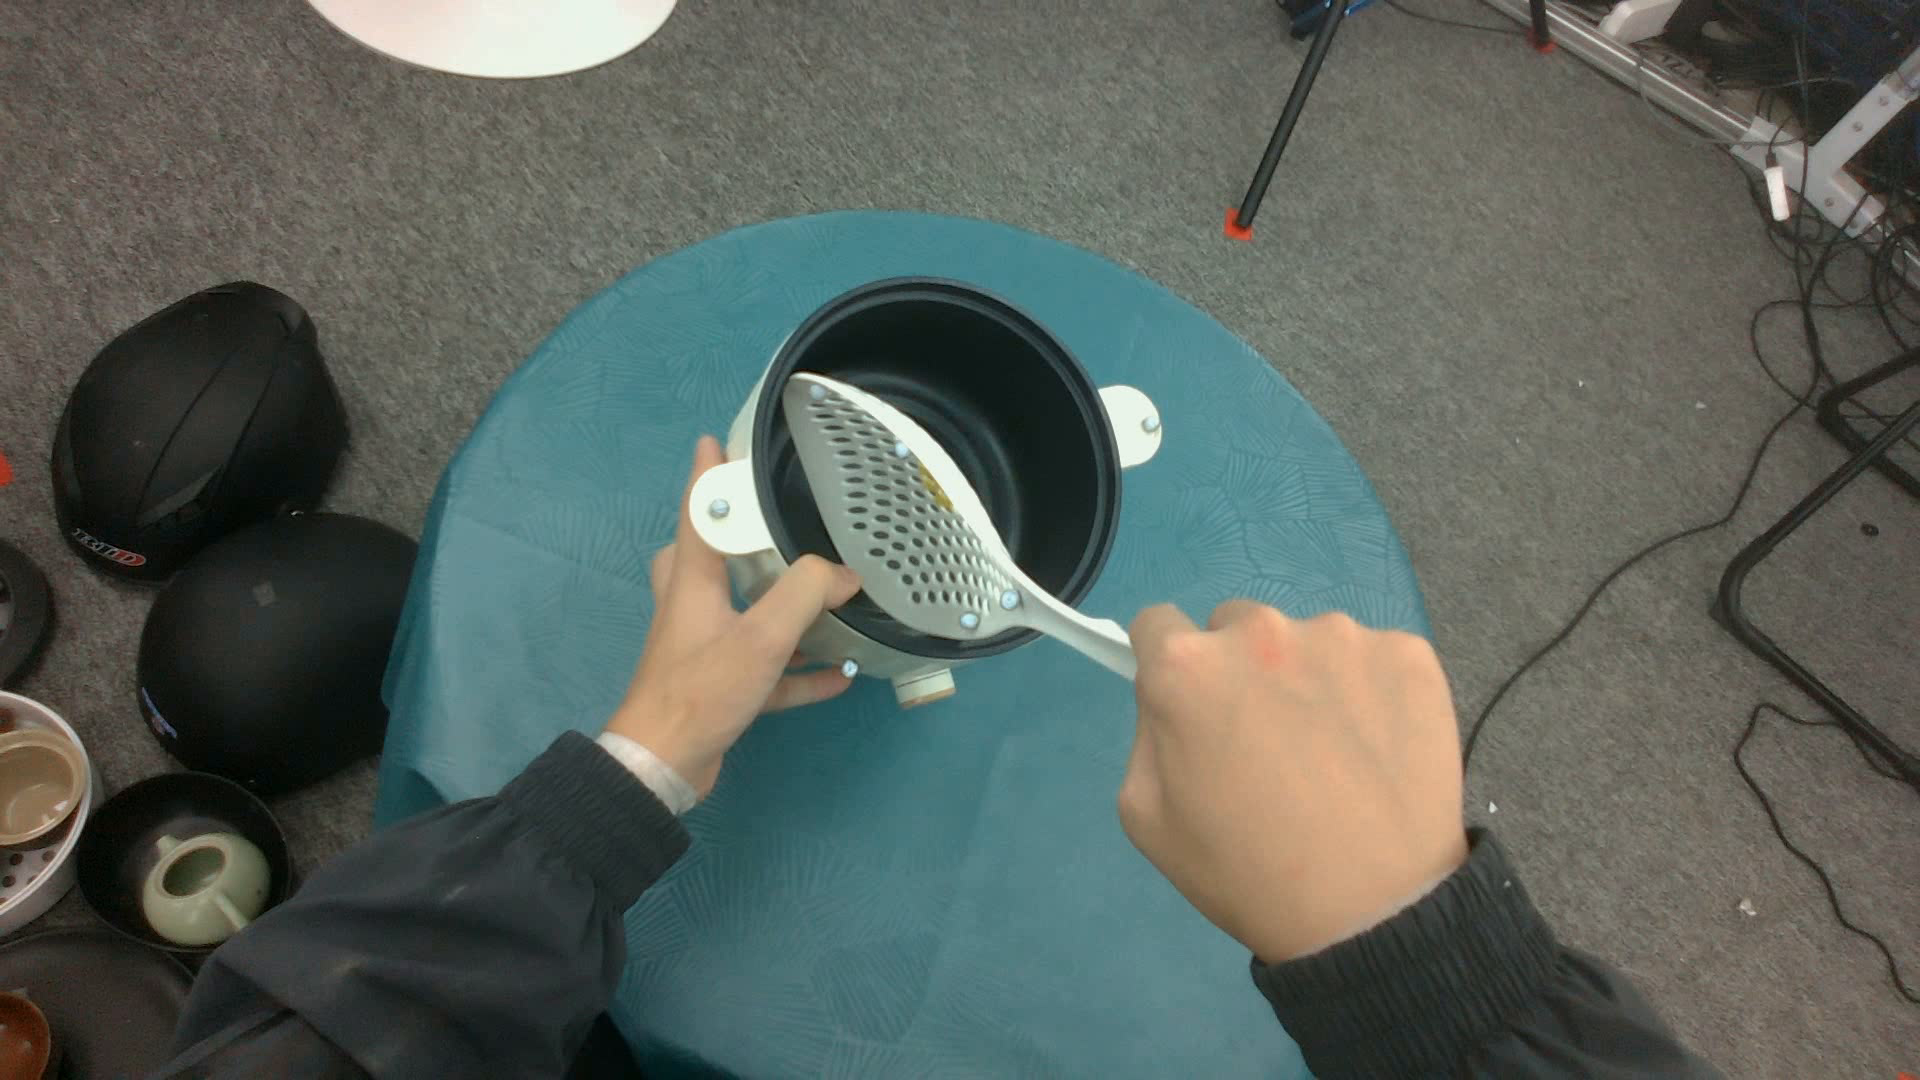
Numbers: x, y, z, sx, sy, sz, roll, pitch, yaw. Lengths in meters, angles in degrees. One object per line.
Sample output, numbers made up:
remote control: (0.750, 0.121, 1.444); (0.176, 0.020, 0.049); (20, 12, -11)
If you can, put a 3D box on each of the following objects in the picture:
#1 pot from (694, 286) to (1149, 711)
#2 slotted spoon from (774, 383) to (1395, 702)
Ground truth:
pot: (-0.029, -0.014, 0.701); (0.241, 0.142, 0.190); (-17, 80, -24)
slotted spoon: (0.025, 0.013, 0.562); (0.050, 0.136, 0.348); (-26, 29, -24)
